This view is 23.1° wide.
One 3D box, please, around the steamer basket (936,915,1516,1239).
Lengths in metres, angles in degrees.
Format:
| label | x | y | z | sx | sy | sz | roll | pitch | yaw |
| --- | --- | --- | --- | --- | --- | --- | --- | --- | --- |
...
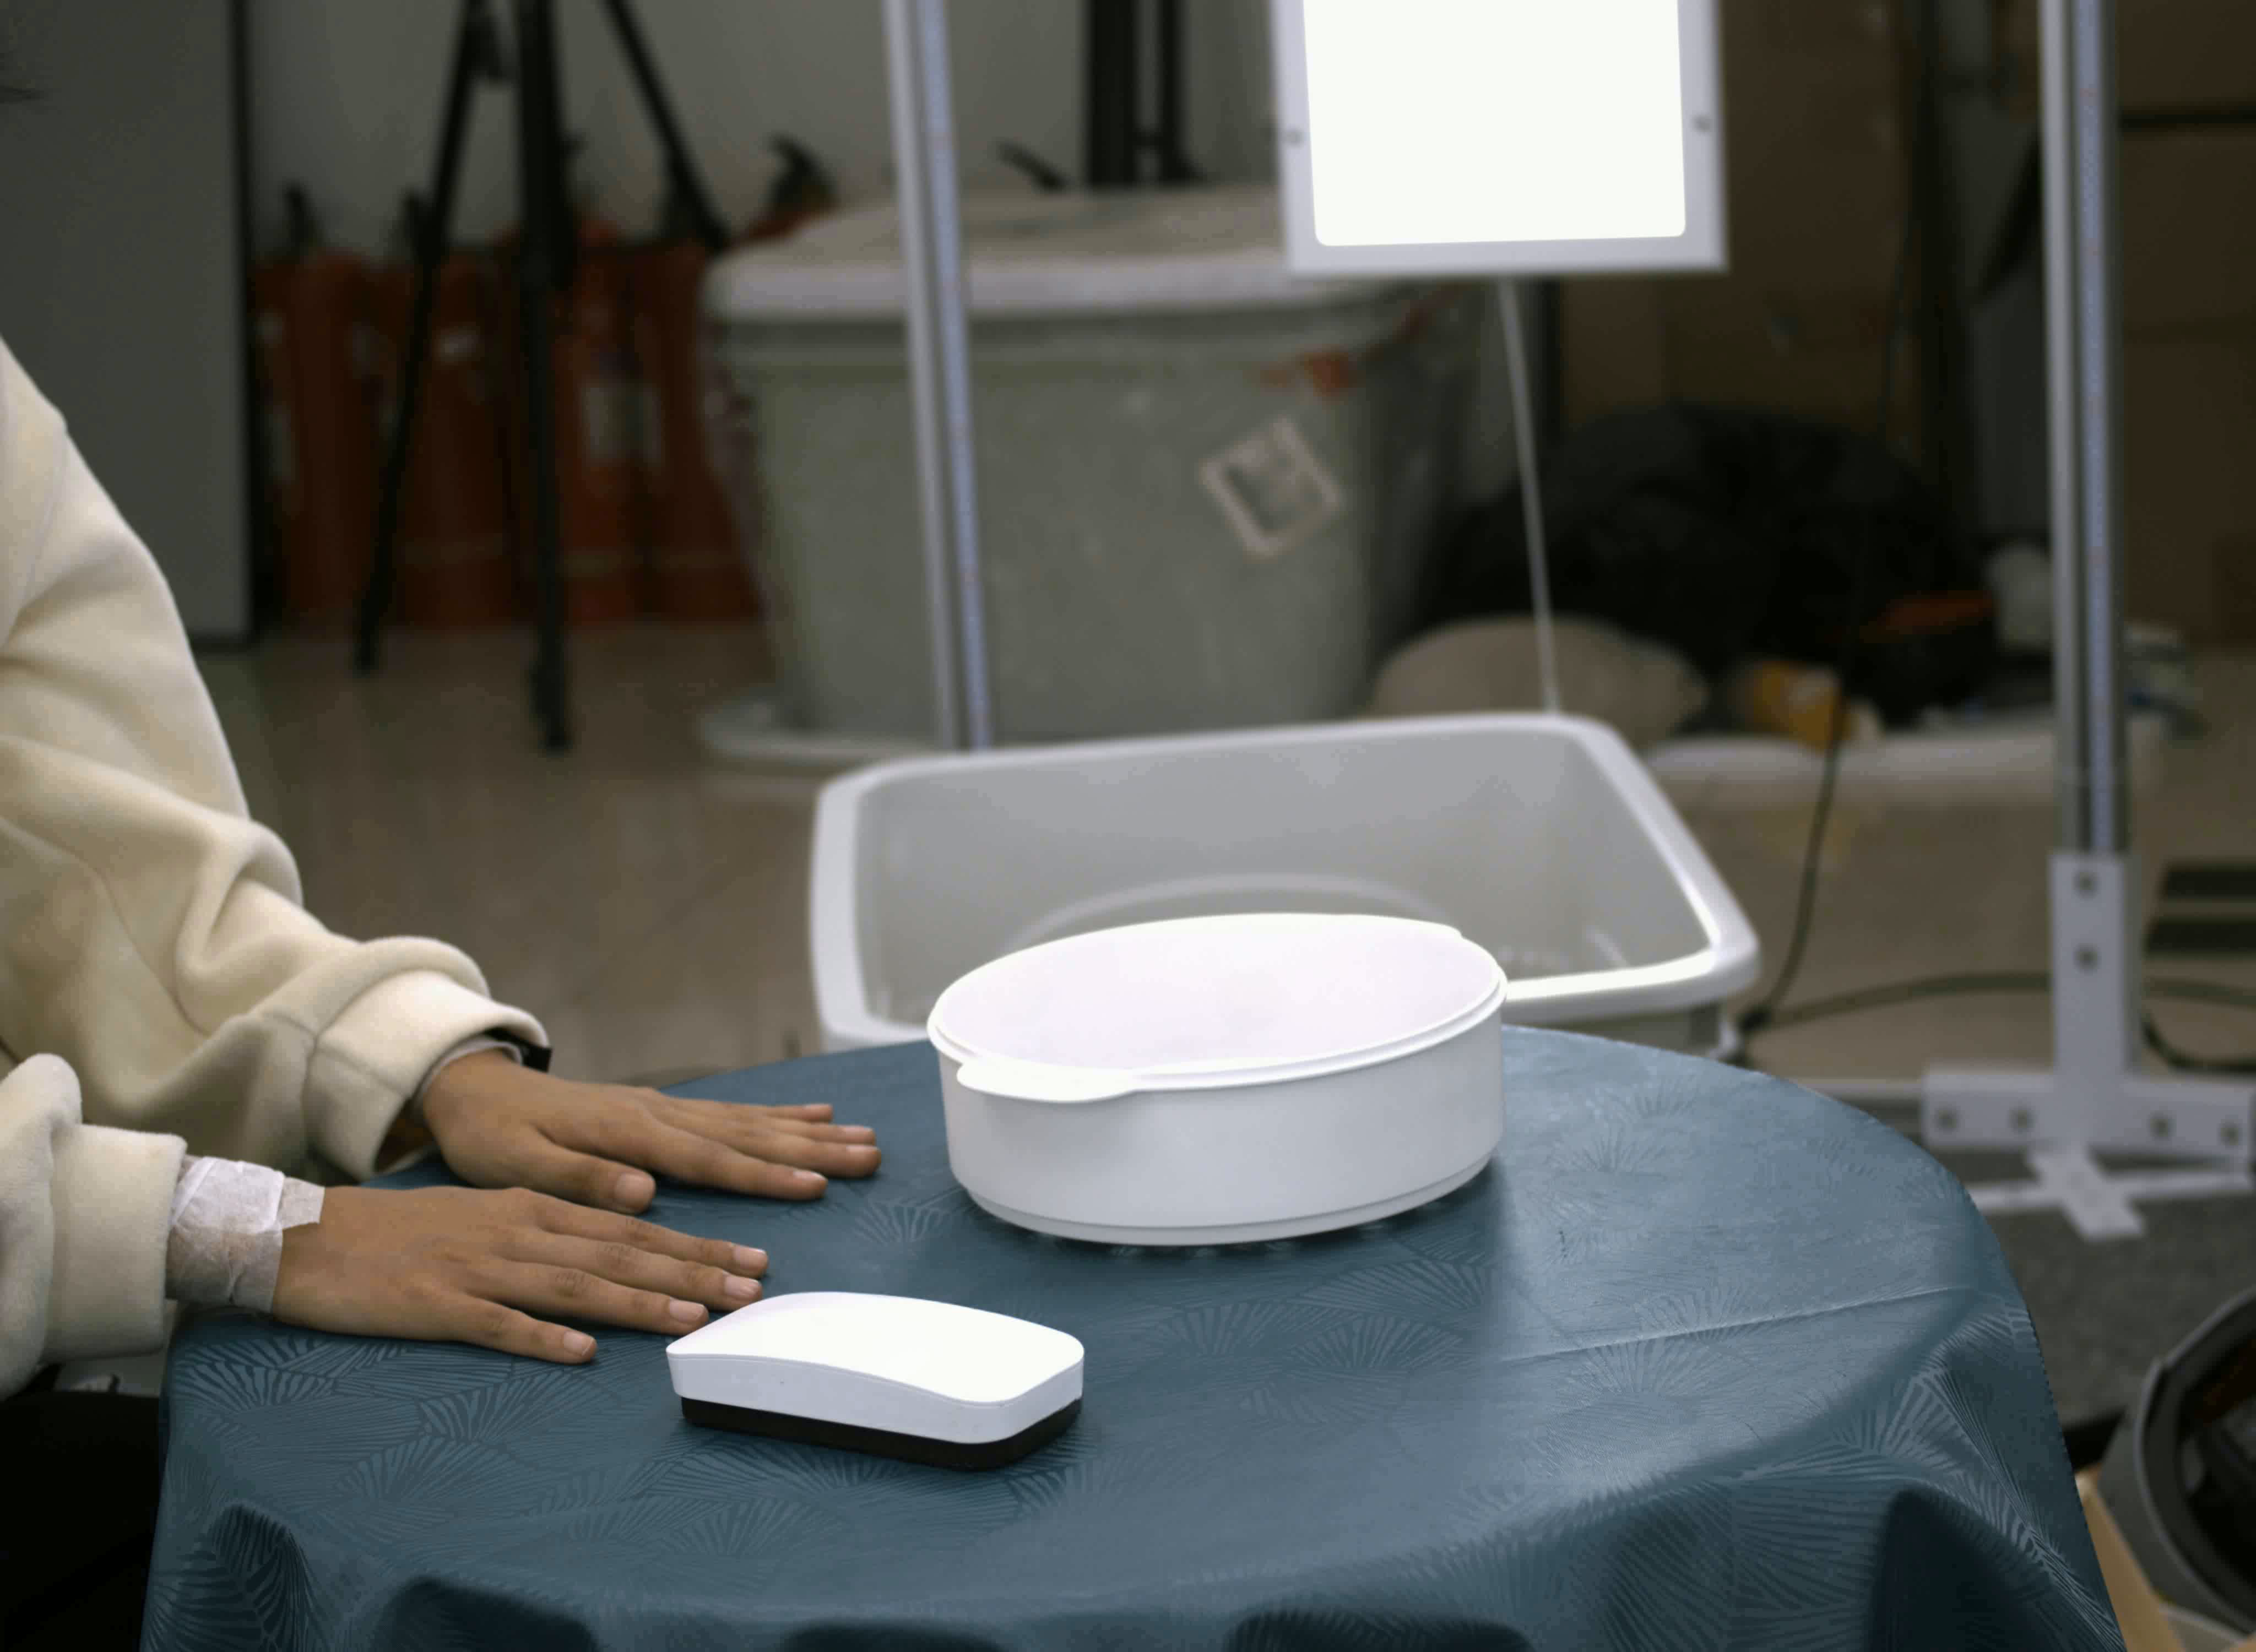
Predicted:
| label | x | y | z | sx | sy | sz | roll | pitch | yaw |
| --- | --- | --- | --- | --- | --- | --- | --- | --- | --- |
| steamer basket | 0.036 | 0.087 | 1.904 | 0.206 | 0.069 | 0.225 | 6 | 17 | 38 |

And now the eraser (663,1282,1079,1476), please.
| label | x | y | z | sx | sy | sz | roll | pitch | yaw |
| --- | --- | --- | --- | --- | --- | --- | --- | --- | --- |
| eraser | -0.078 | 0.168 | 1.694 | 0.134 | 0.034 | 0.062 | 6 | 18 | 37 |
